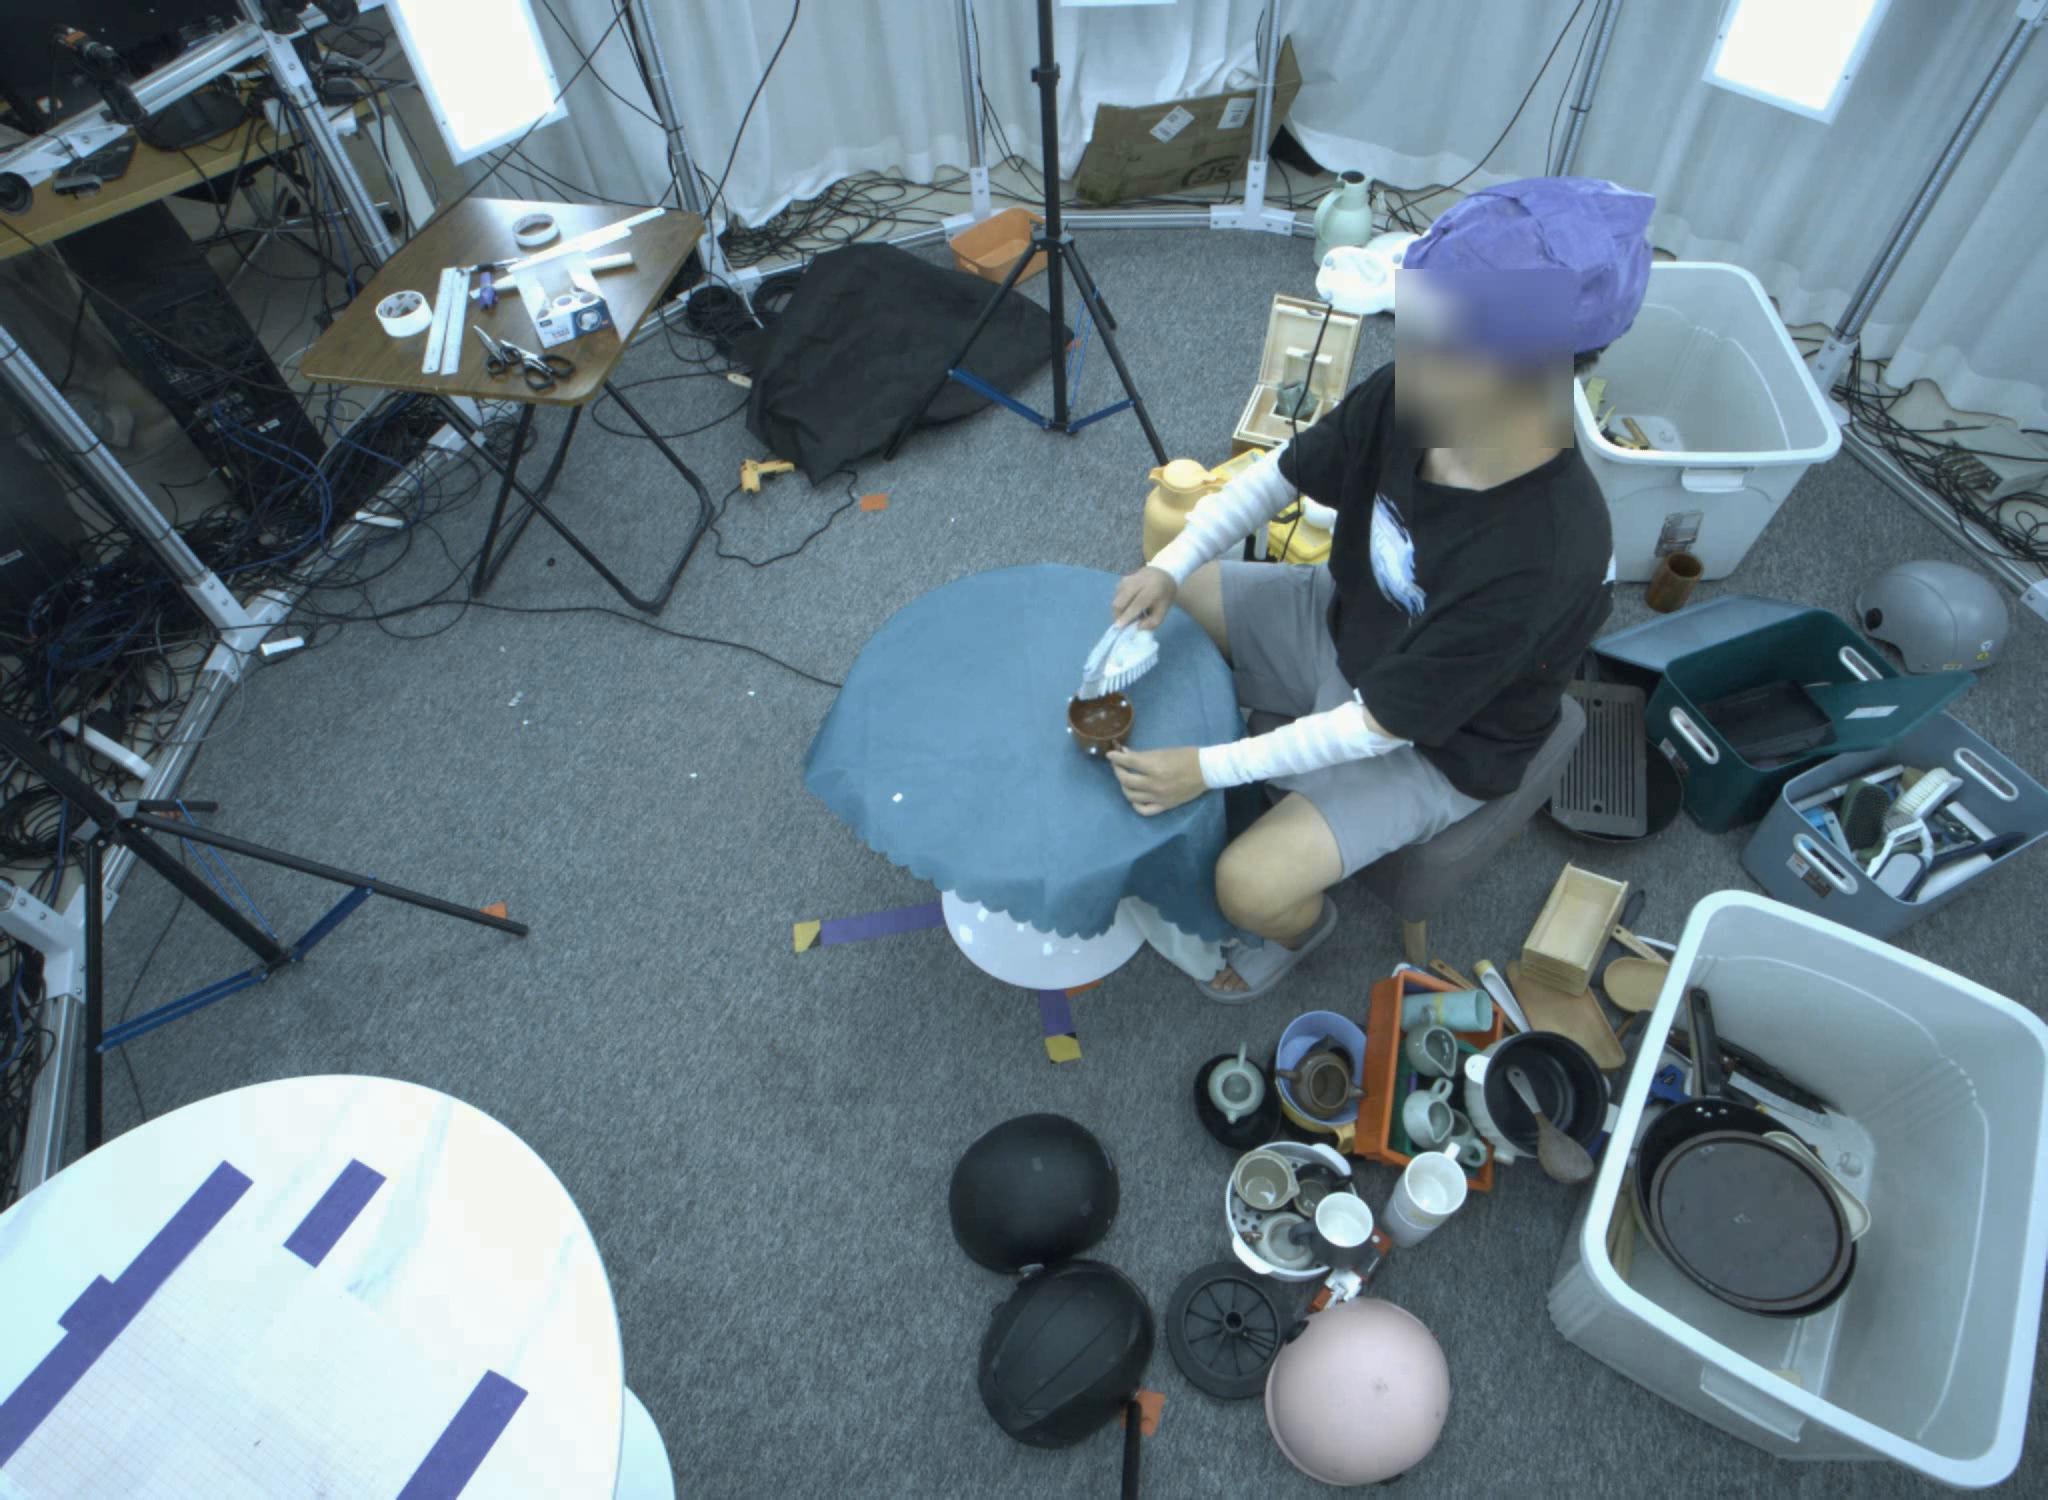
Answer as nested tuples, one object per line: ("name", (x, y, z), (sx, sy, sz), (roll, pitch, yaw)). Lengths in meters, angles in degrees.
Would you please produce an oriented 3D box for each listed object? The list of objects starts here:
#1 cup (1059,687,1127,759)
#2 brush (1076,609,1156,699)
("cup", (0.101, -0.028, 1.754), (0.097, 0.068, 0.117), (-20, 57, -14))
("brush", (0.124, -0.143, 1.761), (0.060, 0.095, 0.177), (19, 37, 31))
